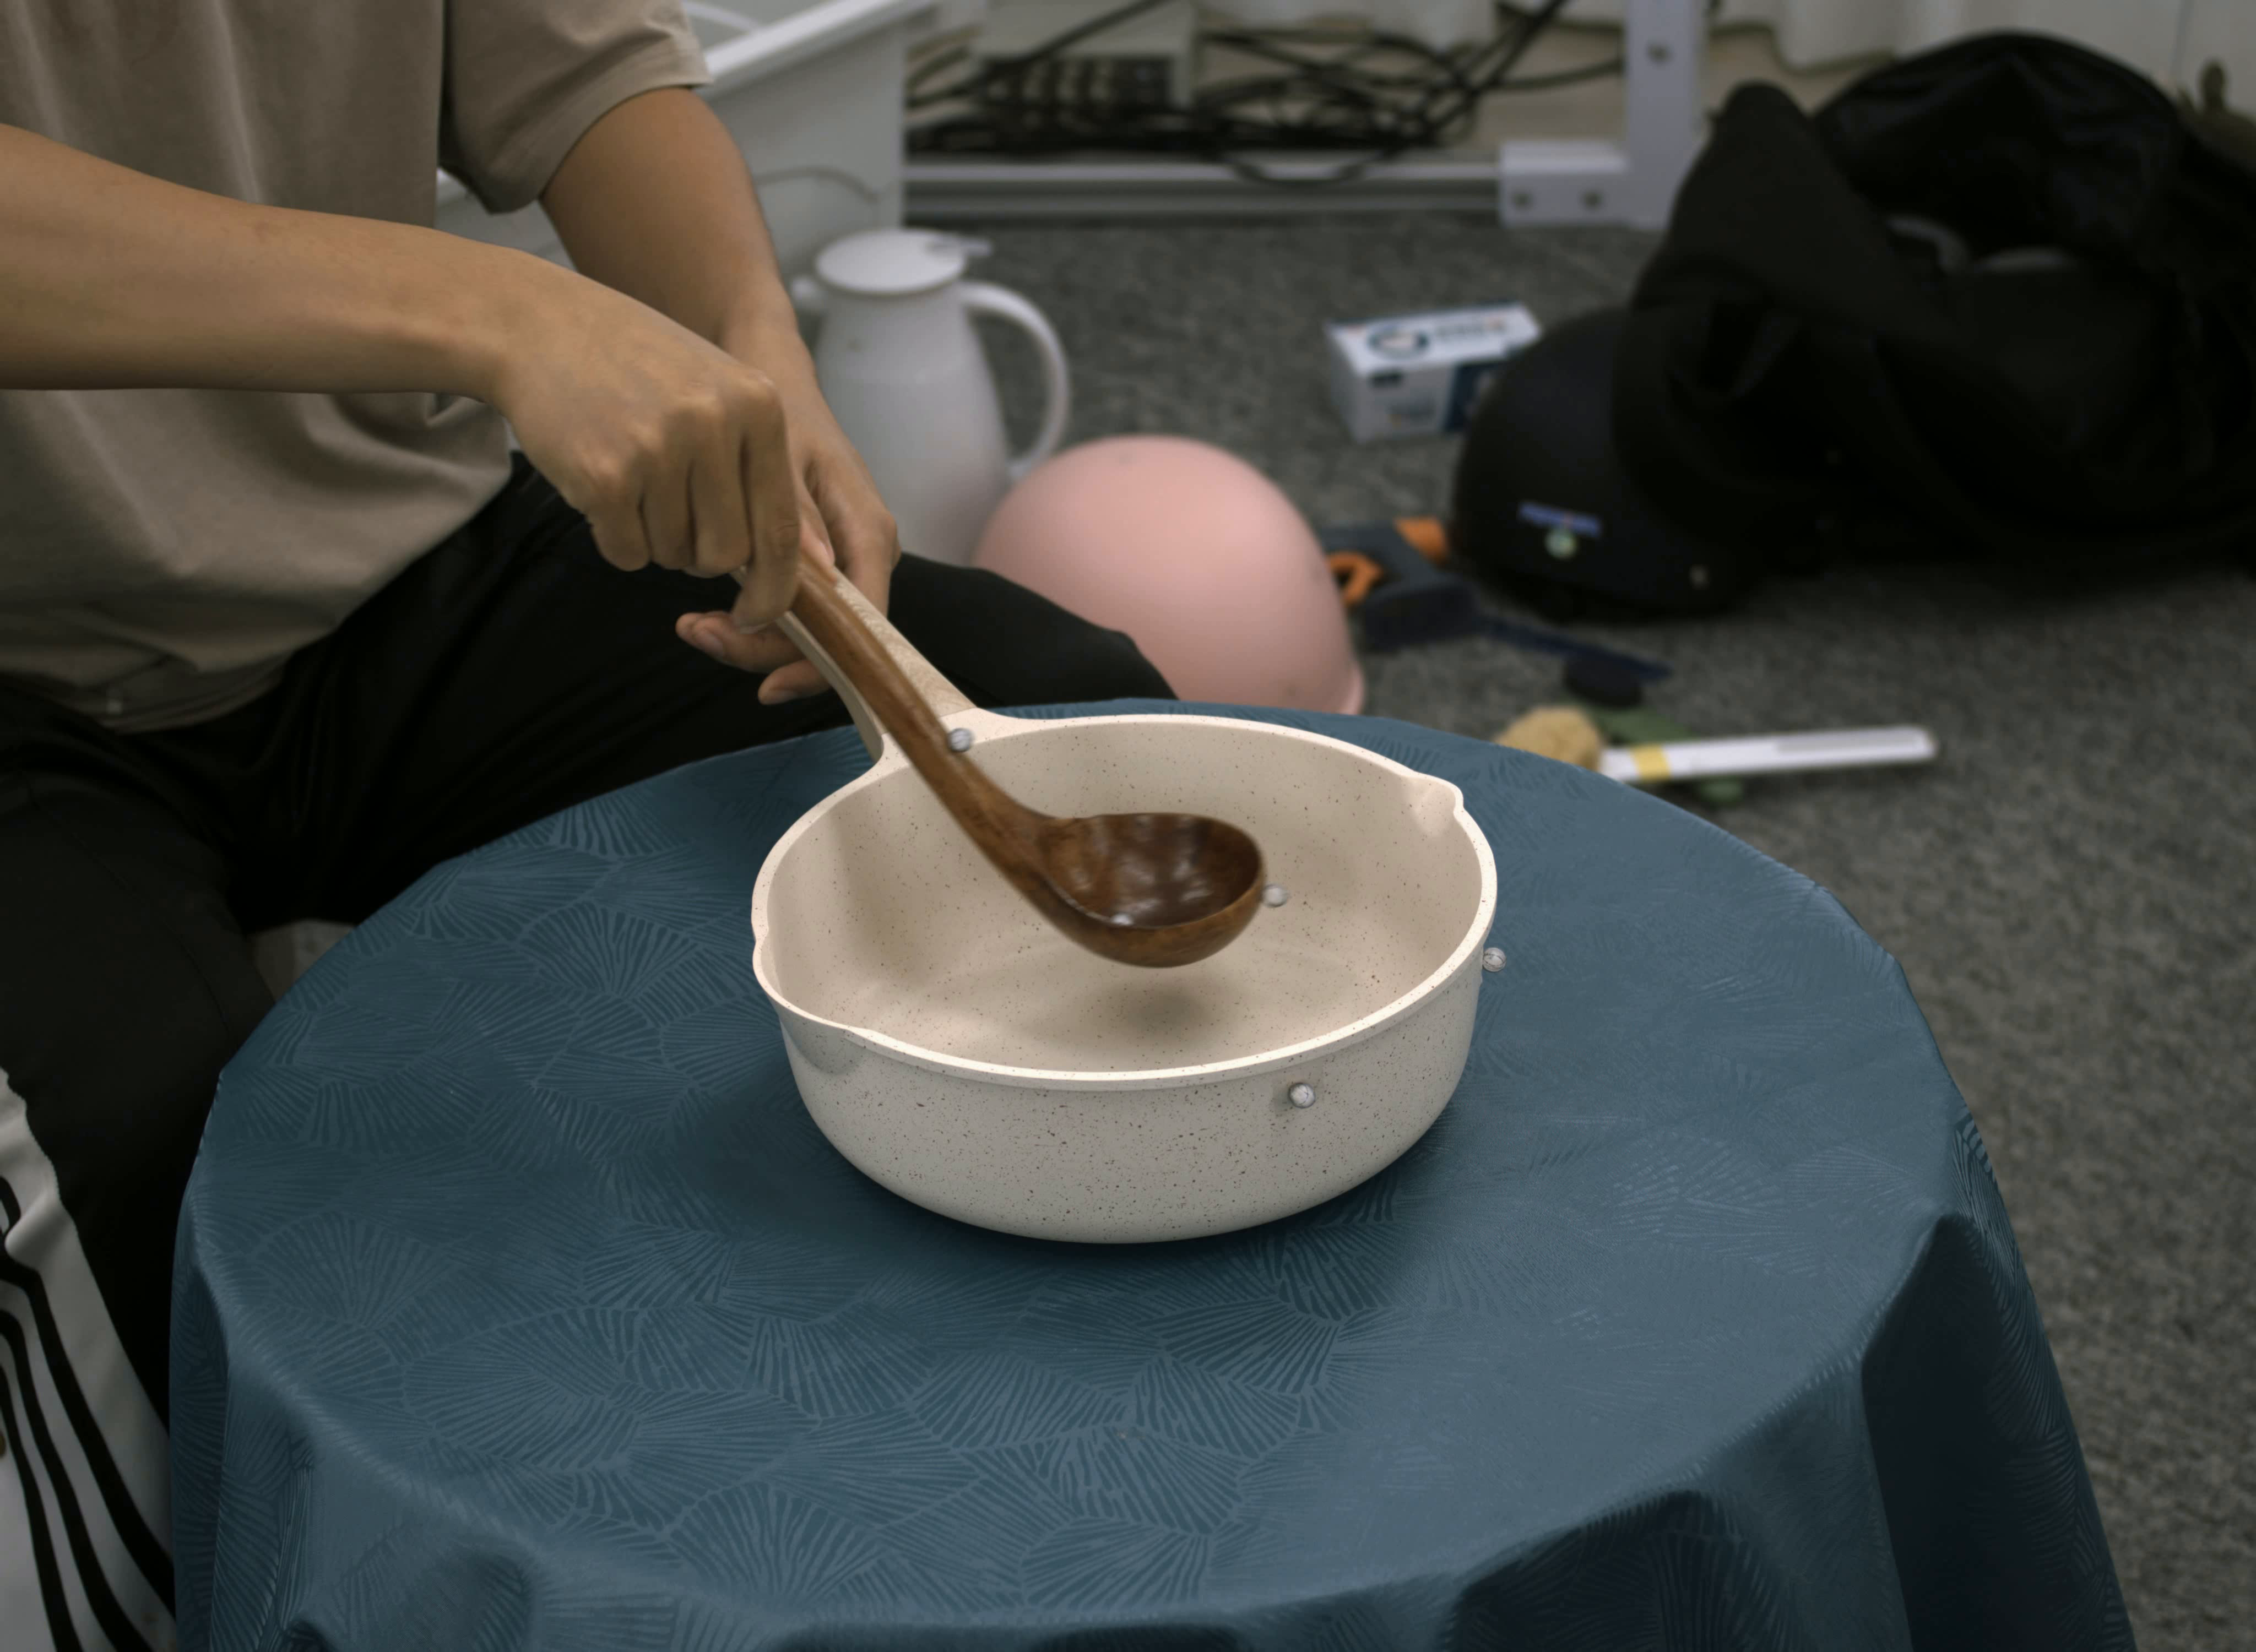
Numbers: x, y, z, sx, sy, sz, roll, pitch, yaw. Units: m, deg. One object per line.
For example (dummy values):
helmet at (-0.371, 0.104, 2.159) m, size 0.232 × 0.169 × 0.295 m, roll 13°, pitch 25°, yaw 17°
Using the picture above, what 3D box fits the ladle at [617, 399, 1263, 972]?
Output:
ladle at (-0.058, -0.054, 1.900) m, size 0.076 × 0.272 × 0.083 m, roll -34°, pitch 20°, yaw 15°

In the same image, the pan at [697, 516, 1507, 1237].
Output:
pan at (-0.041, 0.011, 1.972) m, size 0.265 × 0.101 × 0.437 m, roll -18°, pitch 31°, yaw -24°
